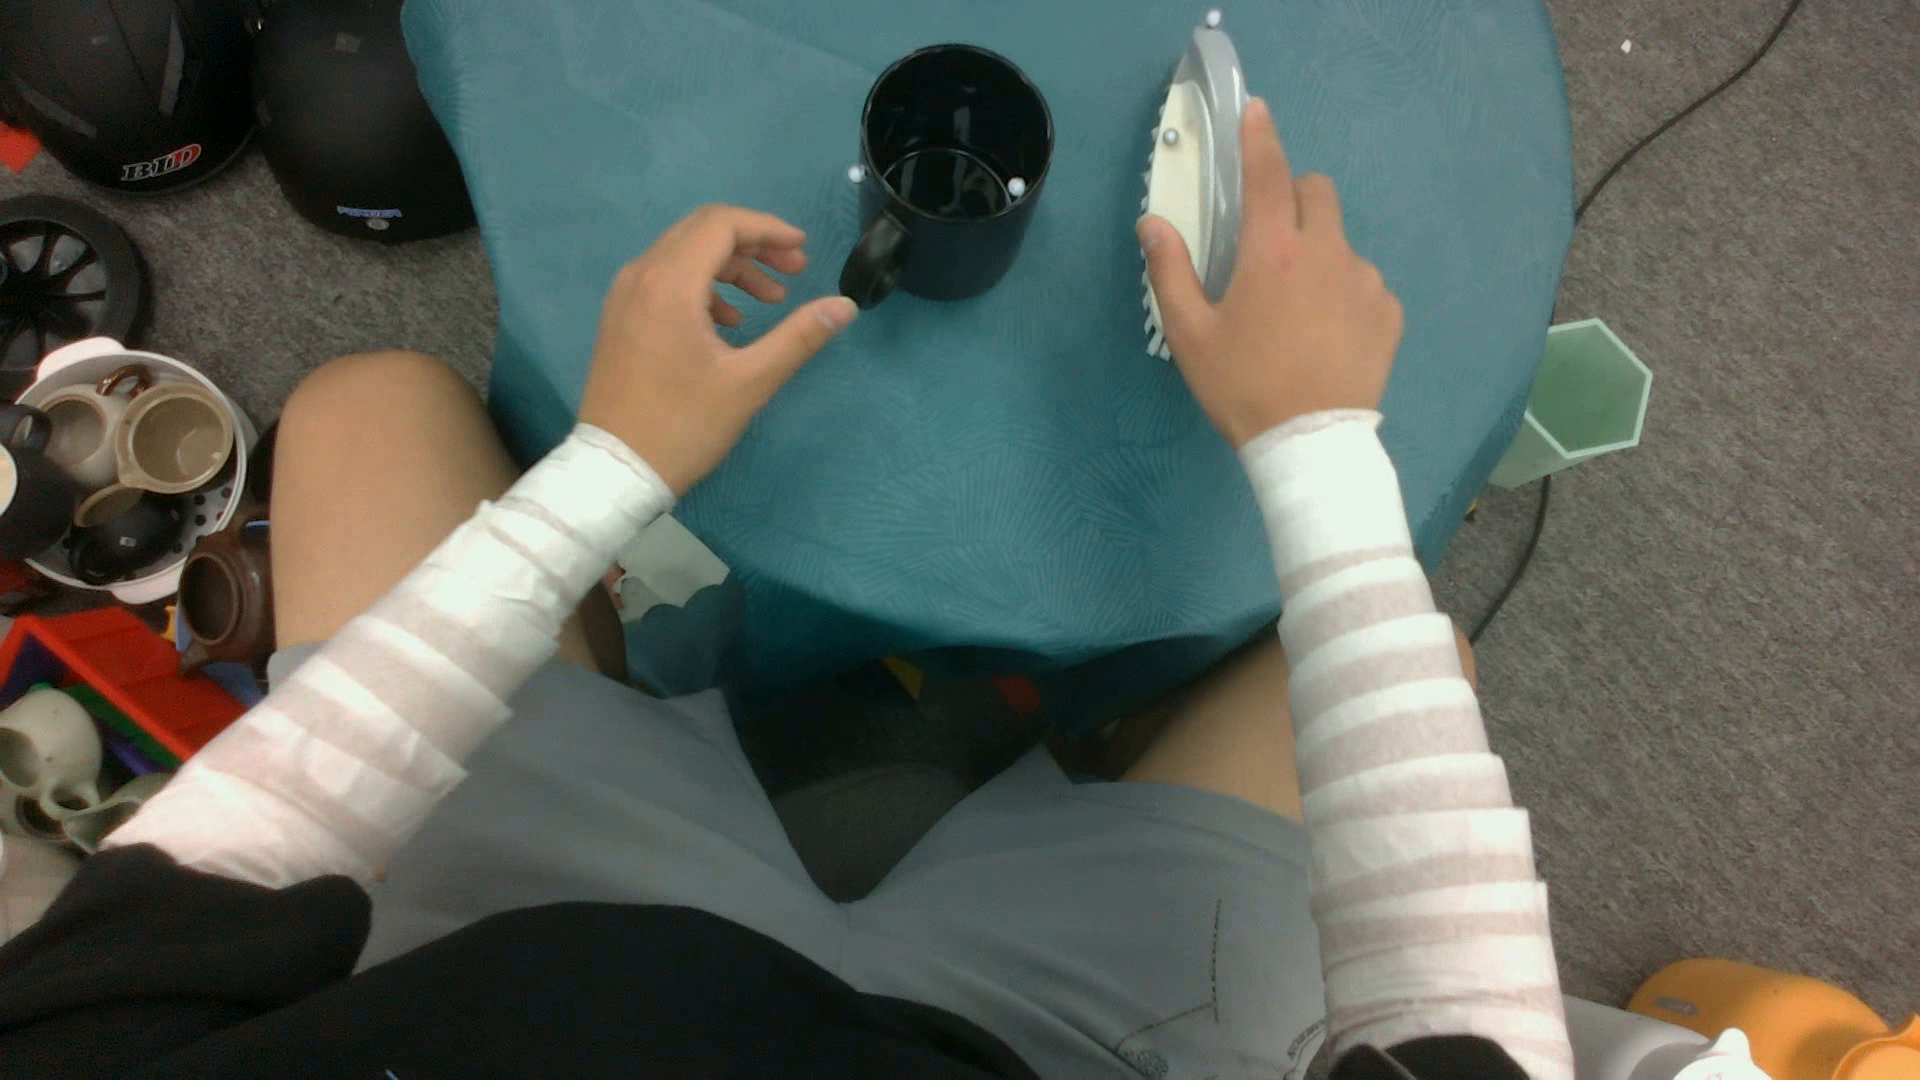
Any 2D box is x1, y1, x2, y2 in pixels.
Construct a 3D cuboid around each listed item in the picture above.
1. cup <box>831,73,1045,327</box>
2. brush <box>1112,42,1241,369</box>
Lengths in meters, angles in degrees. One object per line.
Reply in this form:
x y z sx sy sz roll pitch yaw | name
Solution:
-0.021 -0.156 0.684 0.088 0.105 0.124 38 79 -1 | cup
0.116 -0.184 0.706 0.061 0.094 0.176 4 76 -7 | brush
